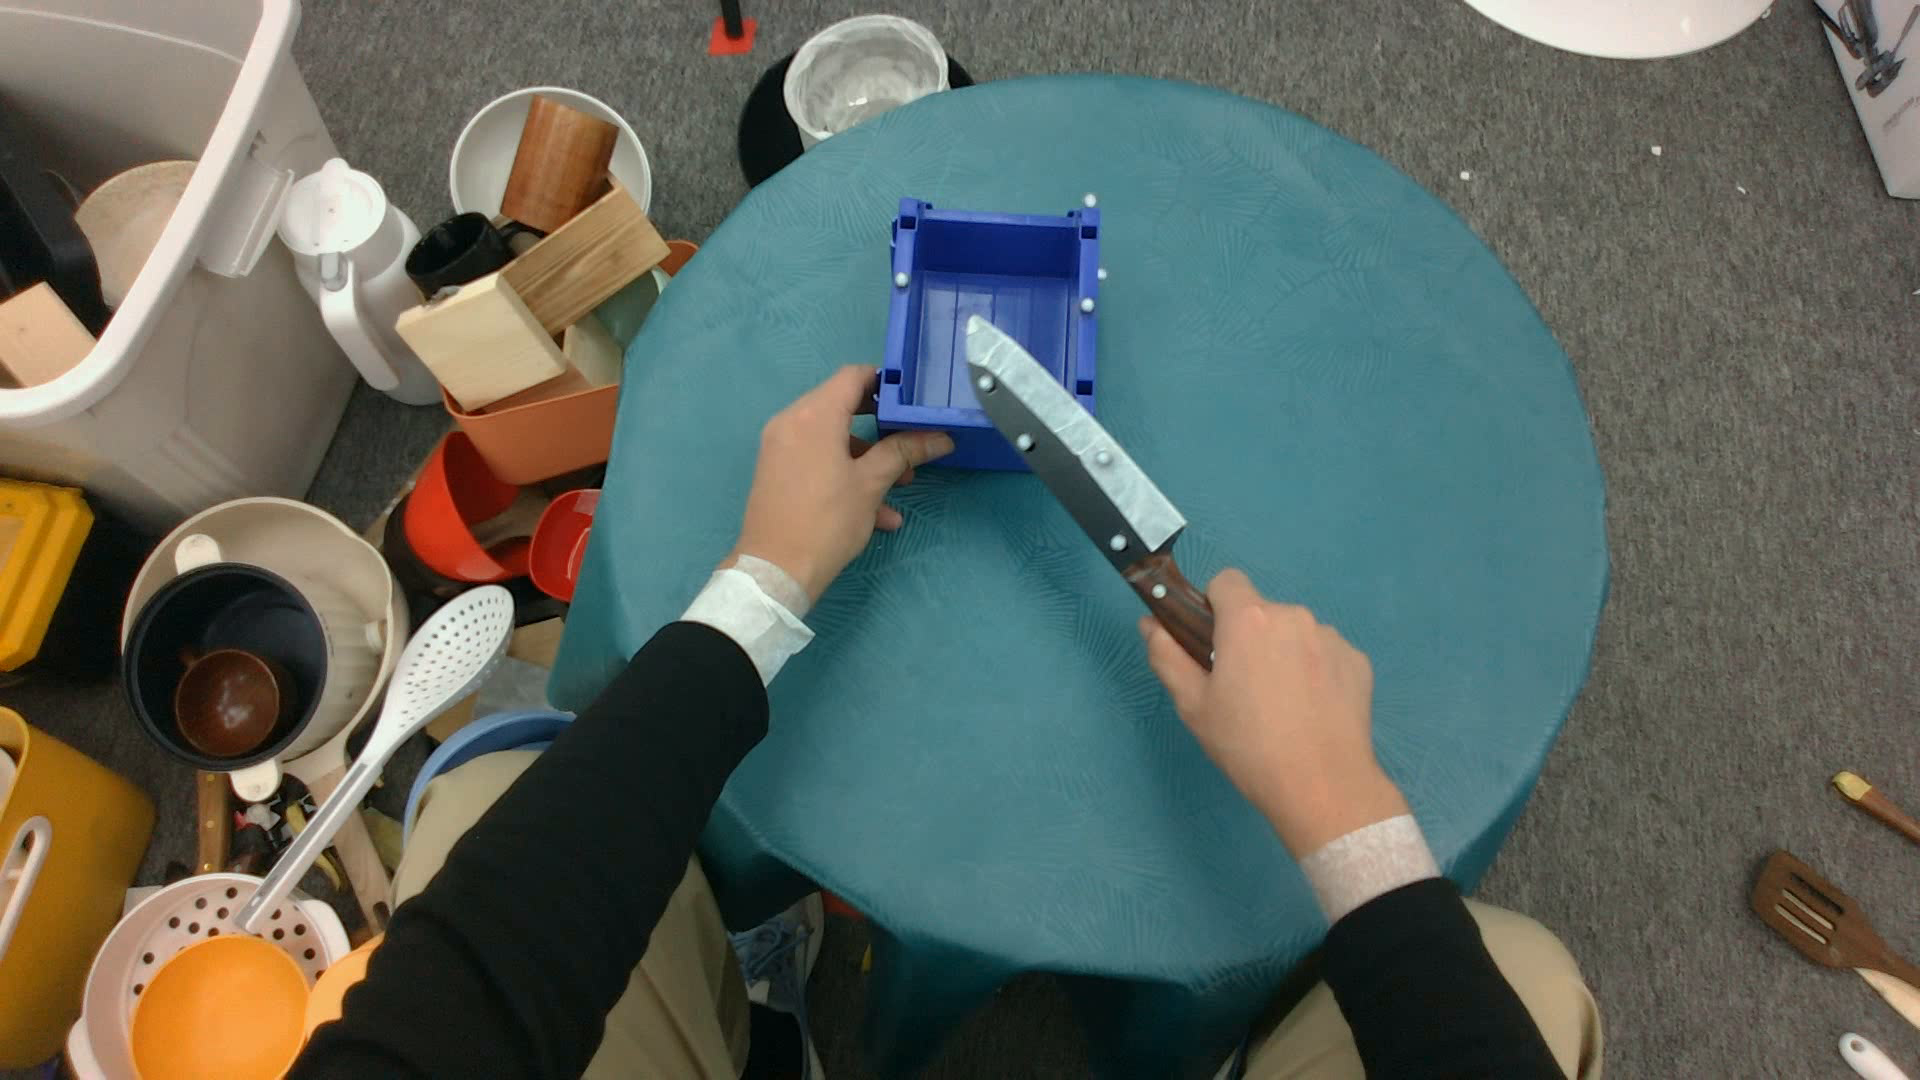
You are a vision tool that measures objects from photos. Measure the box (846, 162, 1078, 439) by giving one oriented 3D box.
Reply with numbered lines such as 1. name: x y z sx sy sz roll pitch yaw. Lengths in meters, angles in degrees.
1. box: 0.003 -0.149 0.826 0.124 0.081 0.180 5 69 1

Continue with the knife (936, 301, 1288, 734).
1. knife: 0.074 -0.018 0.724 0.050 0.020 0.289 -41 76 15
